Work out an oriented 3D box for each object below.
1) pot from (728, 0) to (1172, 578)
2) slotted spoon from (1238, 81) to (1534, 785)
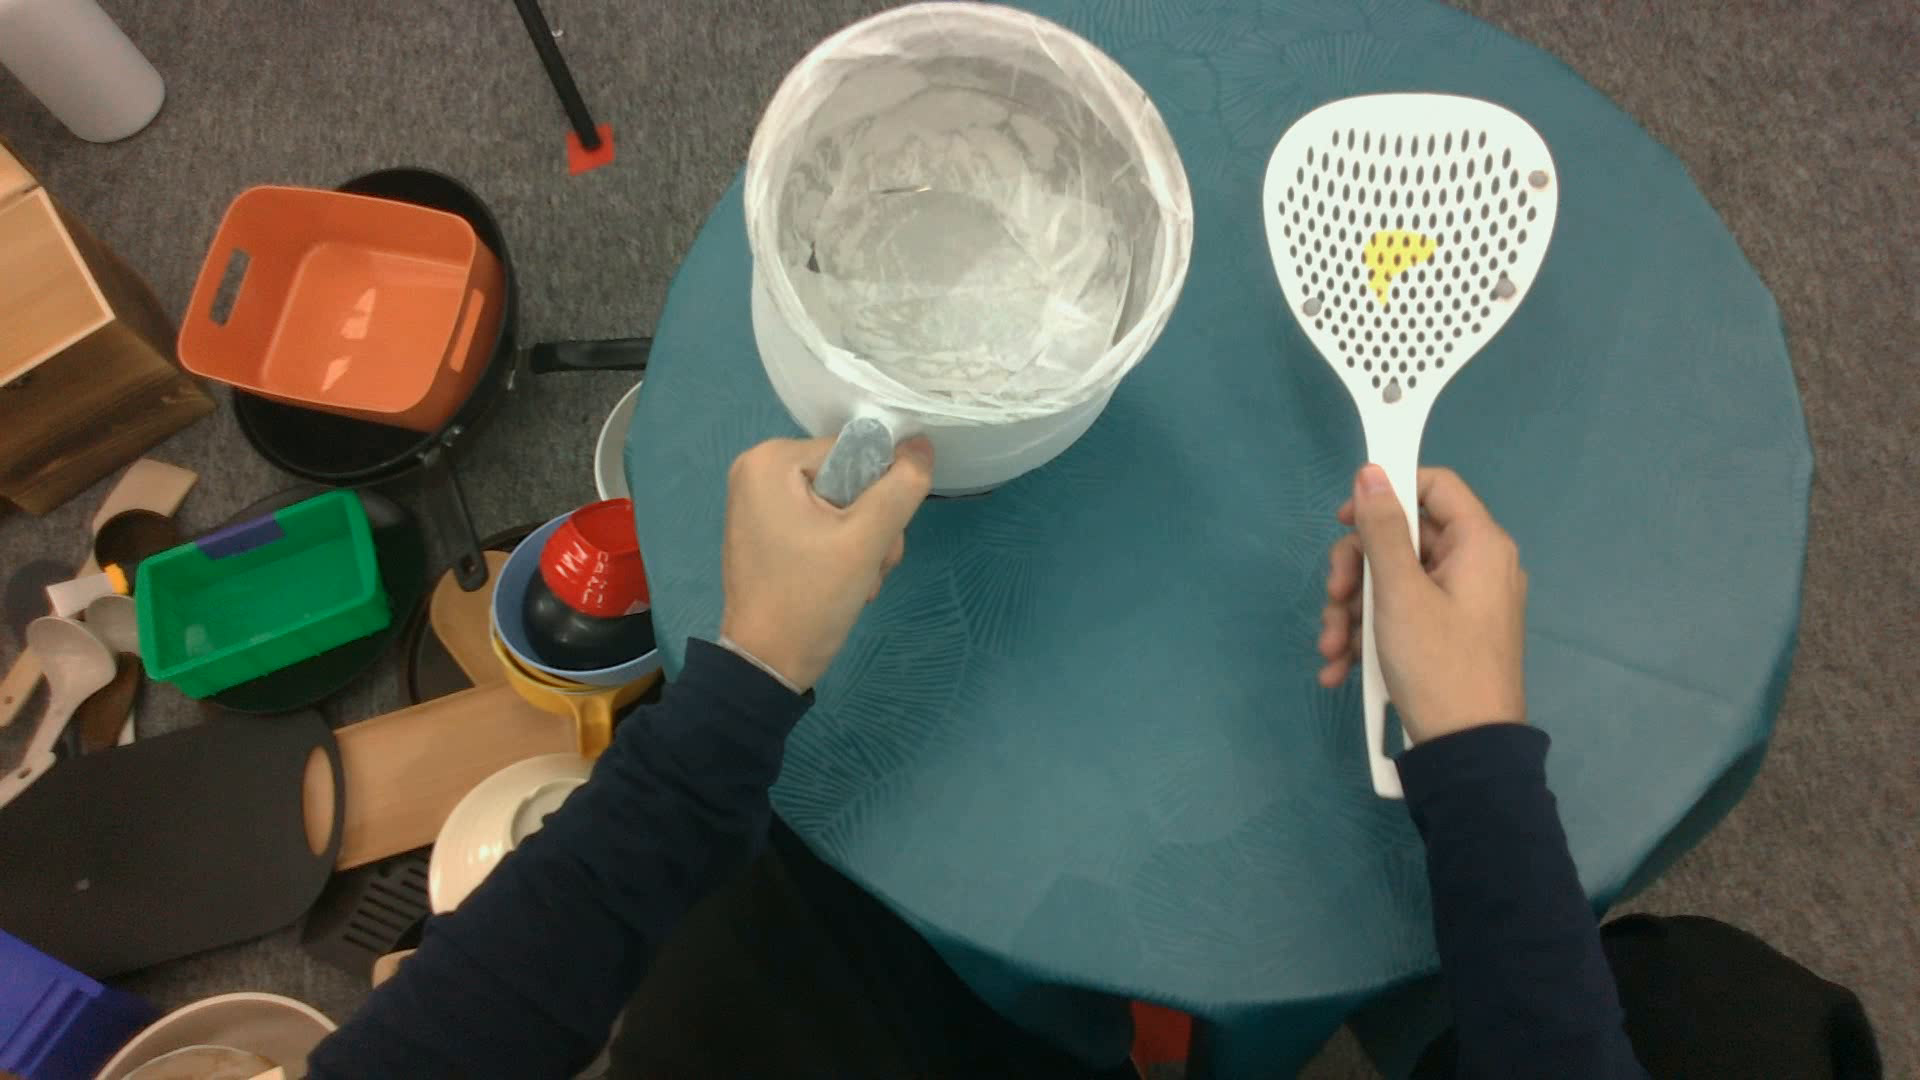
[{"bbox_3d":[-0.020,-0.099,0.596,0.179,0.136,0.234,22,74,-2],"label":"pot"},{"bbox_3d":[0.192,-0.064,0.626,0.136,0.050,0.349,3,63,11],"label":"slotted spoon"}]
